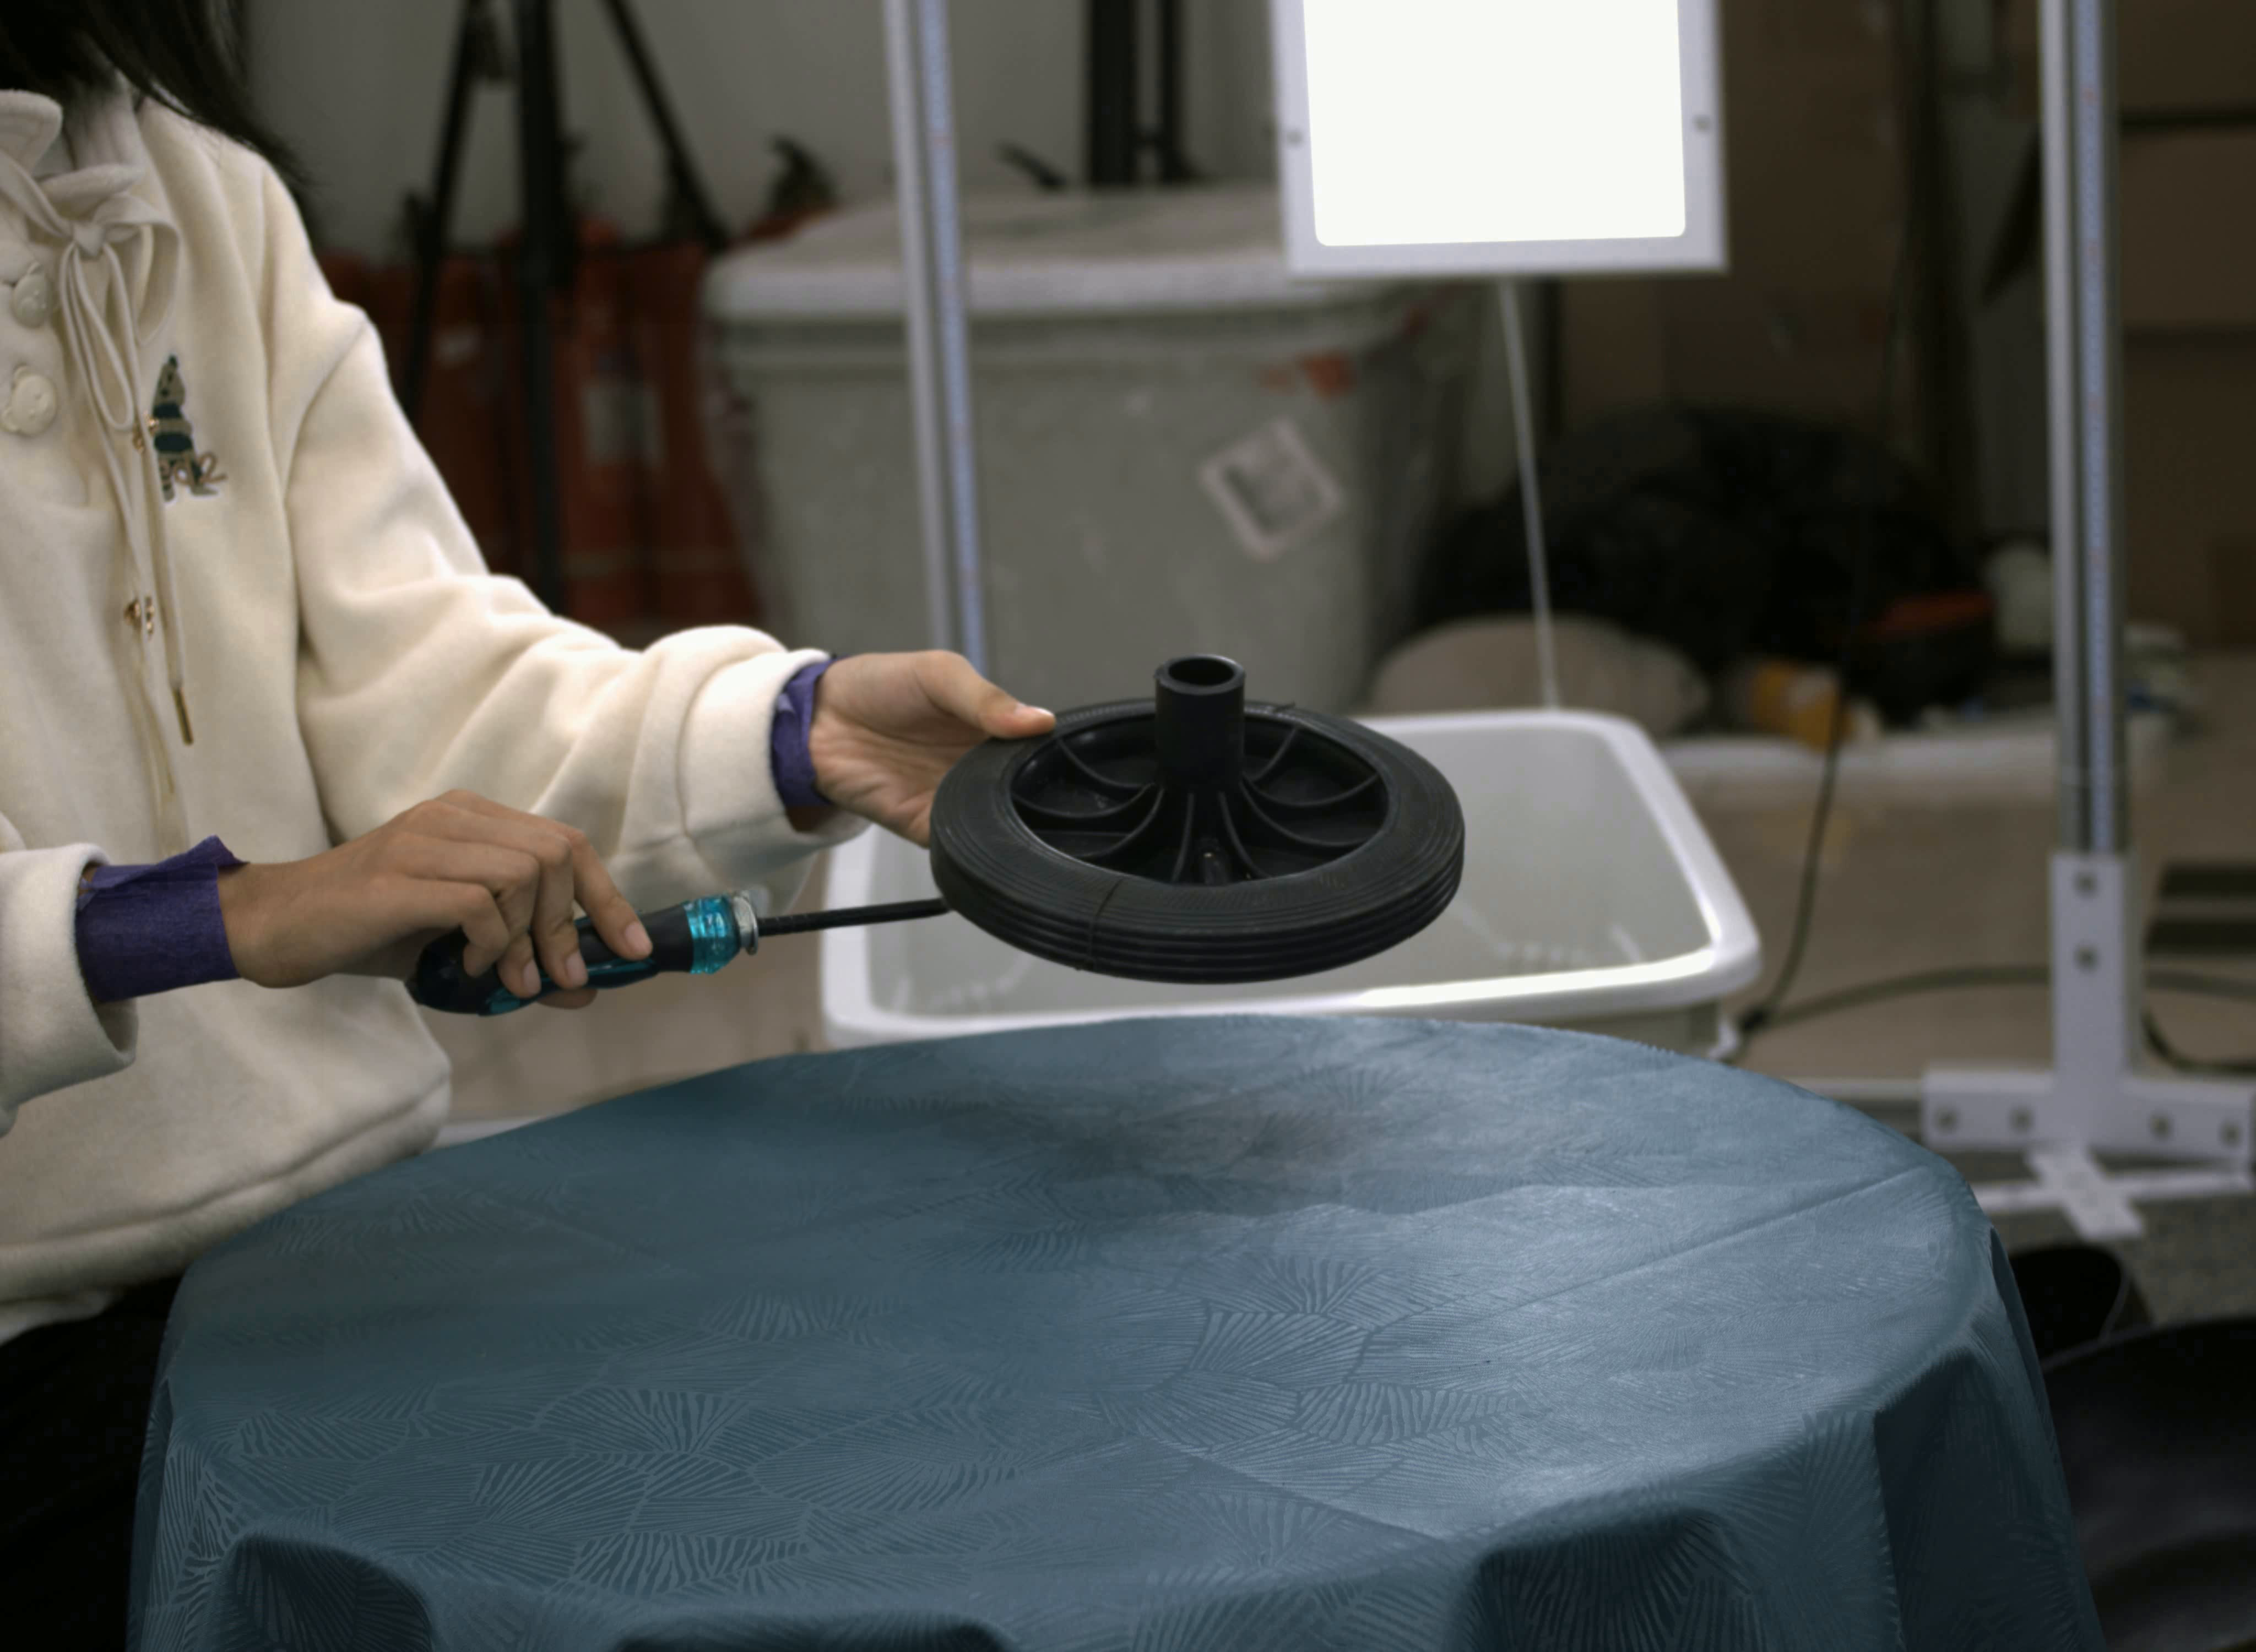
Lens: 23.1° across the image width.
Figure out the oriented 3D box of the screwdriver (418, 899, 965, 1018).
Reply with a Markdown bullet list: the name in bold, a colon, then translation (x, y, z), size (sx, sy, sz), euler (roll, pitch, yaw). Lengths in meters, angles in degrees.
- **screwdriver**: translation (-0.145, 0.039, 1.856), size (0.187, 0.034, 0.034), euler (-7, 14, -16)

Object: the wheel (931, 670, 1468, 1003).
- **wheel**: translation (0.026, -0.012, 1.916), size (0.183, 0.079, 0.192), euler (-15, 33, -26)
